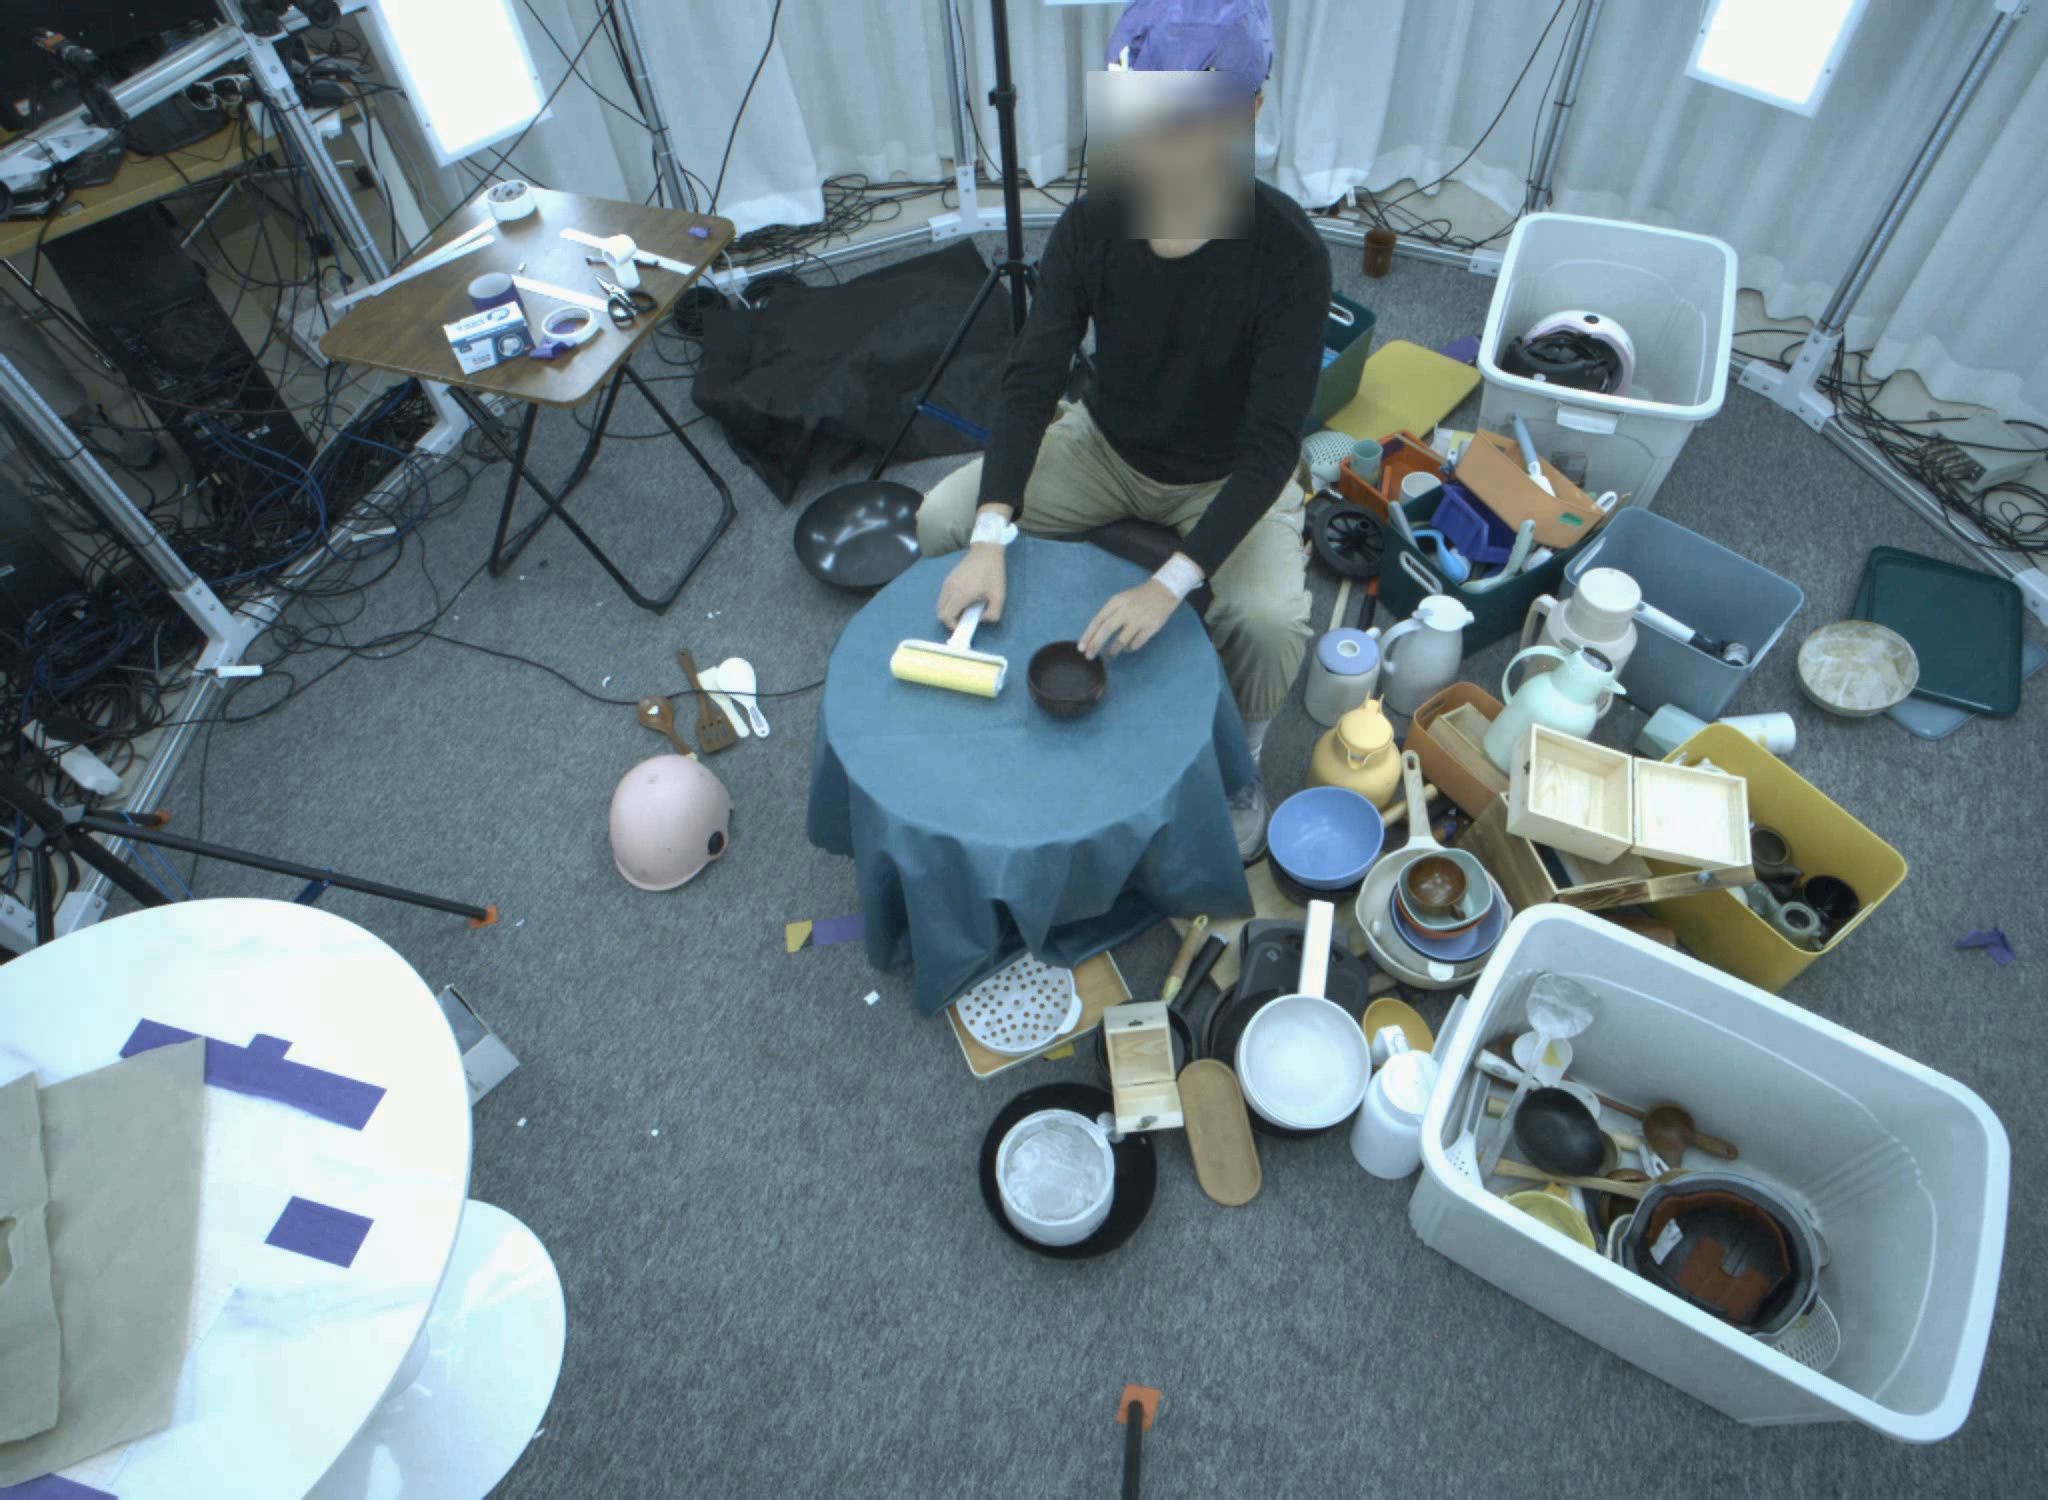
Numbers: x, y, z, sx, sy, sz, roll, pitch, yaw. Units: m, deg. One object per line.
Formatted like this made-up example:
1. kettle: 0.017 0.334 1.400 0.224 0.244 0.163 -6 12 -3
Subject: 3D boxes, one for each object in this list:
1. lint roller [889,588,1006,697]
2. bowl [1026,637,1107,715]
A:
1. lint roller: -0.100 -0.178 1.877 0.173 0.052 0.191 11 65 10
2. bowl: 0.063 -0.101 1.811 0.118 0.070 0.117 -1 56 2
